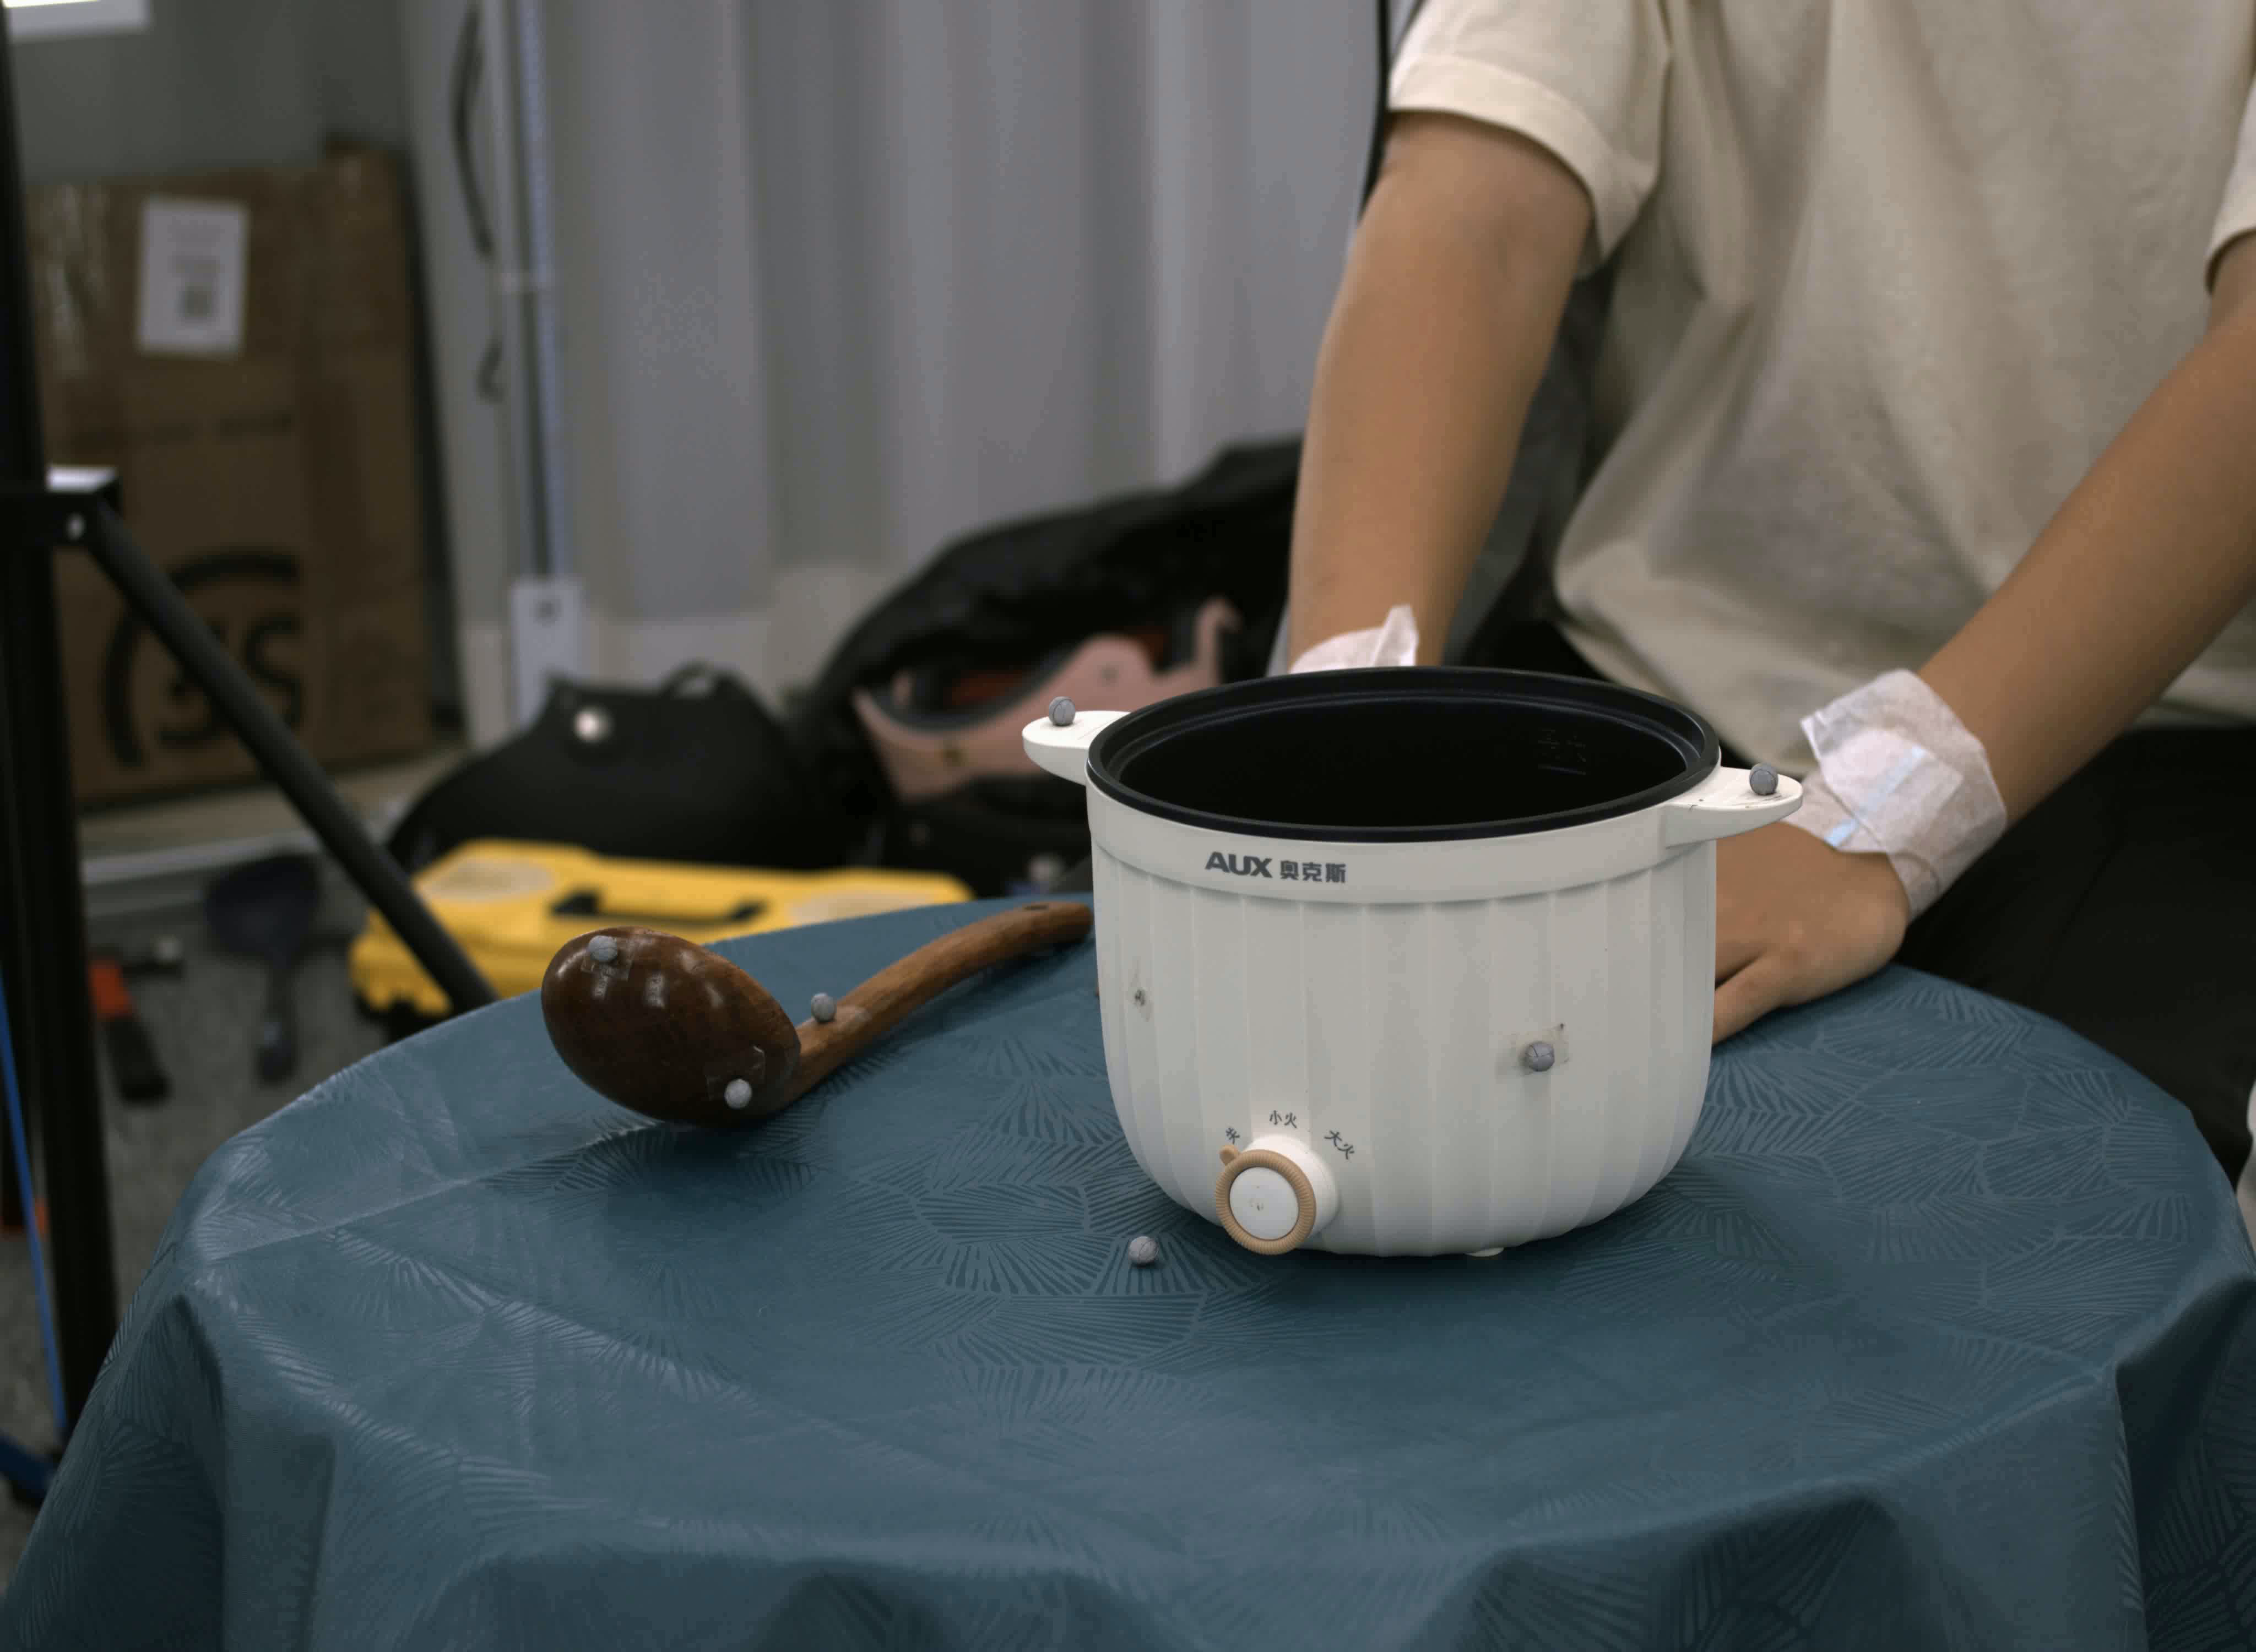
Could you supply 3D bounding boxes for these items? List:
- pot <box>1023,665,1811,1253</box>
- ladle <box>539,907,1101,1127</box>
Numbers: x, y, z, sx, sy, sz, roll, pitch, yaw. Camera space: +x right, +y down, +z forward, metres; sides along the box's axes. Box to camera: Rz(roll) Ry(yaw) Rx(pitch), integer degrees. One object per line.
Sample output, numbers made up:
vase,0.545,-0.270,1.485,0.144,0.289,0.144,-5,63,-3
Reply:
pot,0.079,0.041,1.524,0.244,0.143,0.187,4,13,27
ladle,-0.087,0.035,1.691,0.083,0.076,0.269,3,16,31
